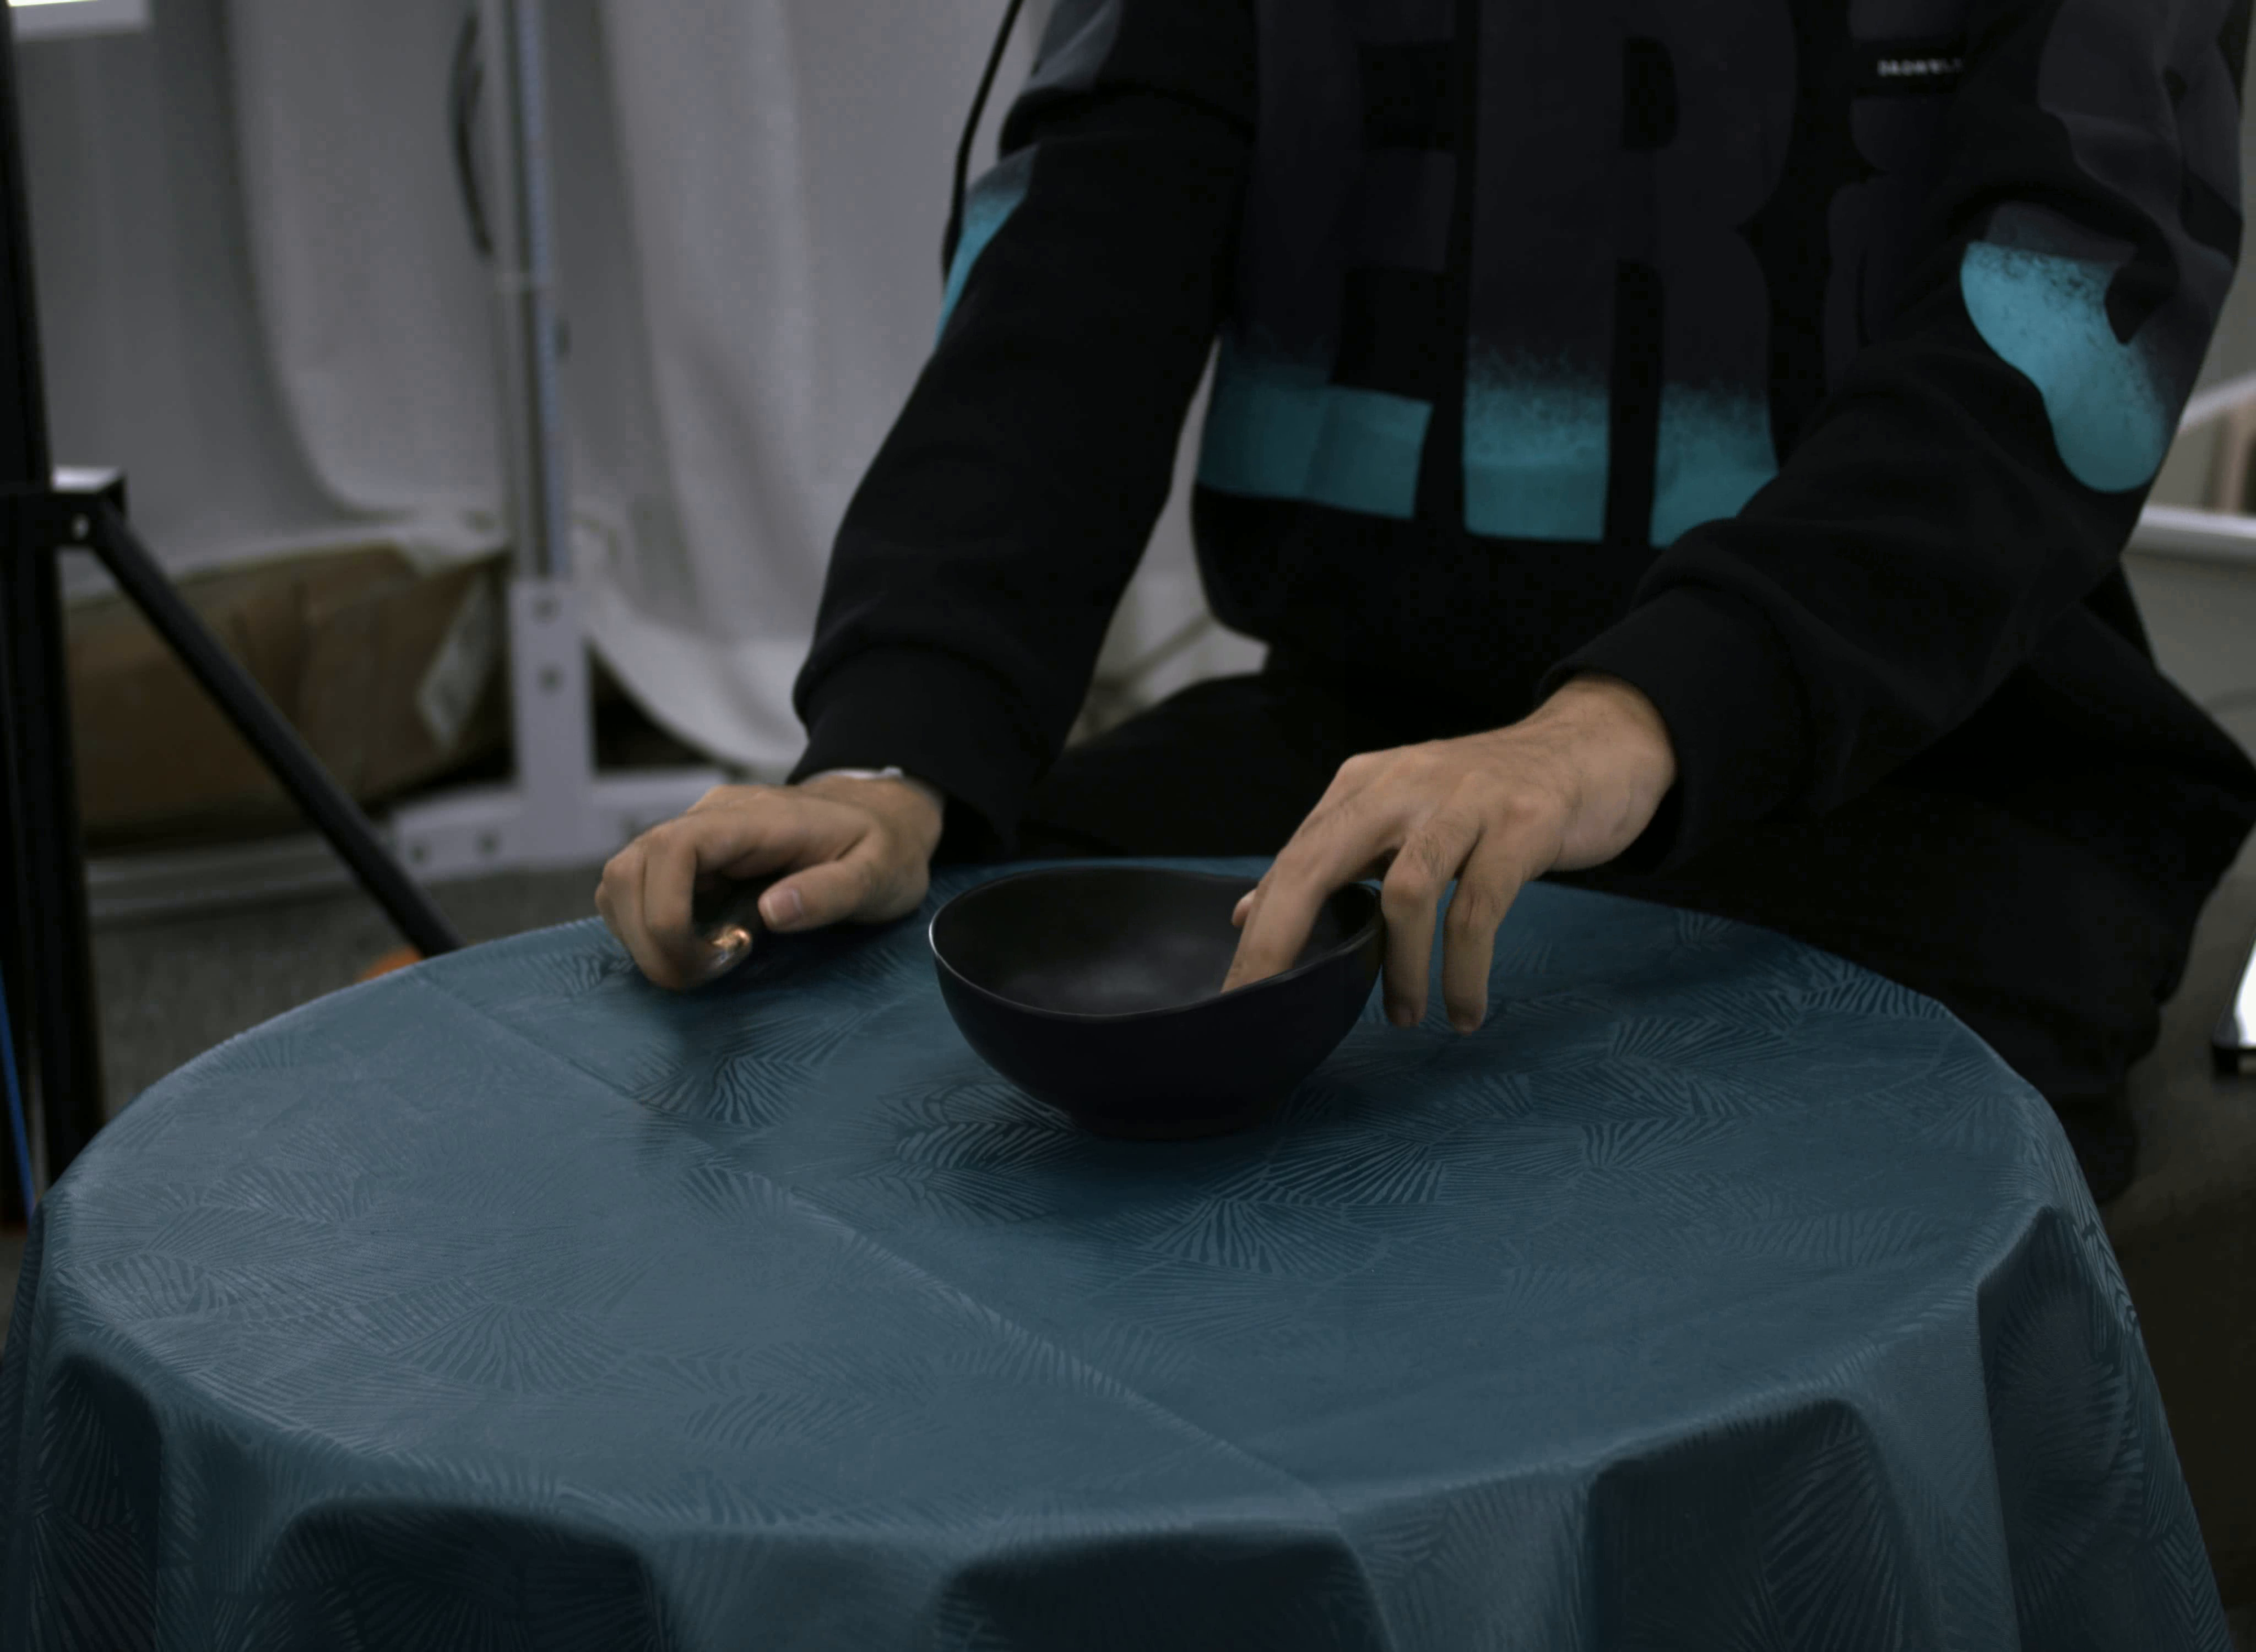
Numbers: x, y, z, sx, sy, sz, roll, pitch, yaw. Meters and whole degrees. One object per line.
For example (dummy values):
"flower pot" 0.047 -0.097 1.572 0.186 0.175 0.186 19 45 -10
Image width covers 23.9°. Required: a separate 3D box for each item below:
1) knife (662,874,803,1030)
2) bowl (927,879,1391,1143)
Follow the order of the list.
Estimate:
"knife" -0.130 0.043 1.718 0.026 0.017 0.225 -40 4 11
"bowl" 0.011 0.057 1.619 0.139 0.067 0.168 4 15 20
